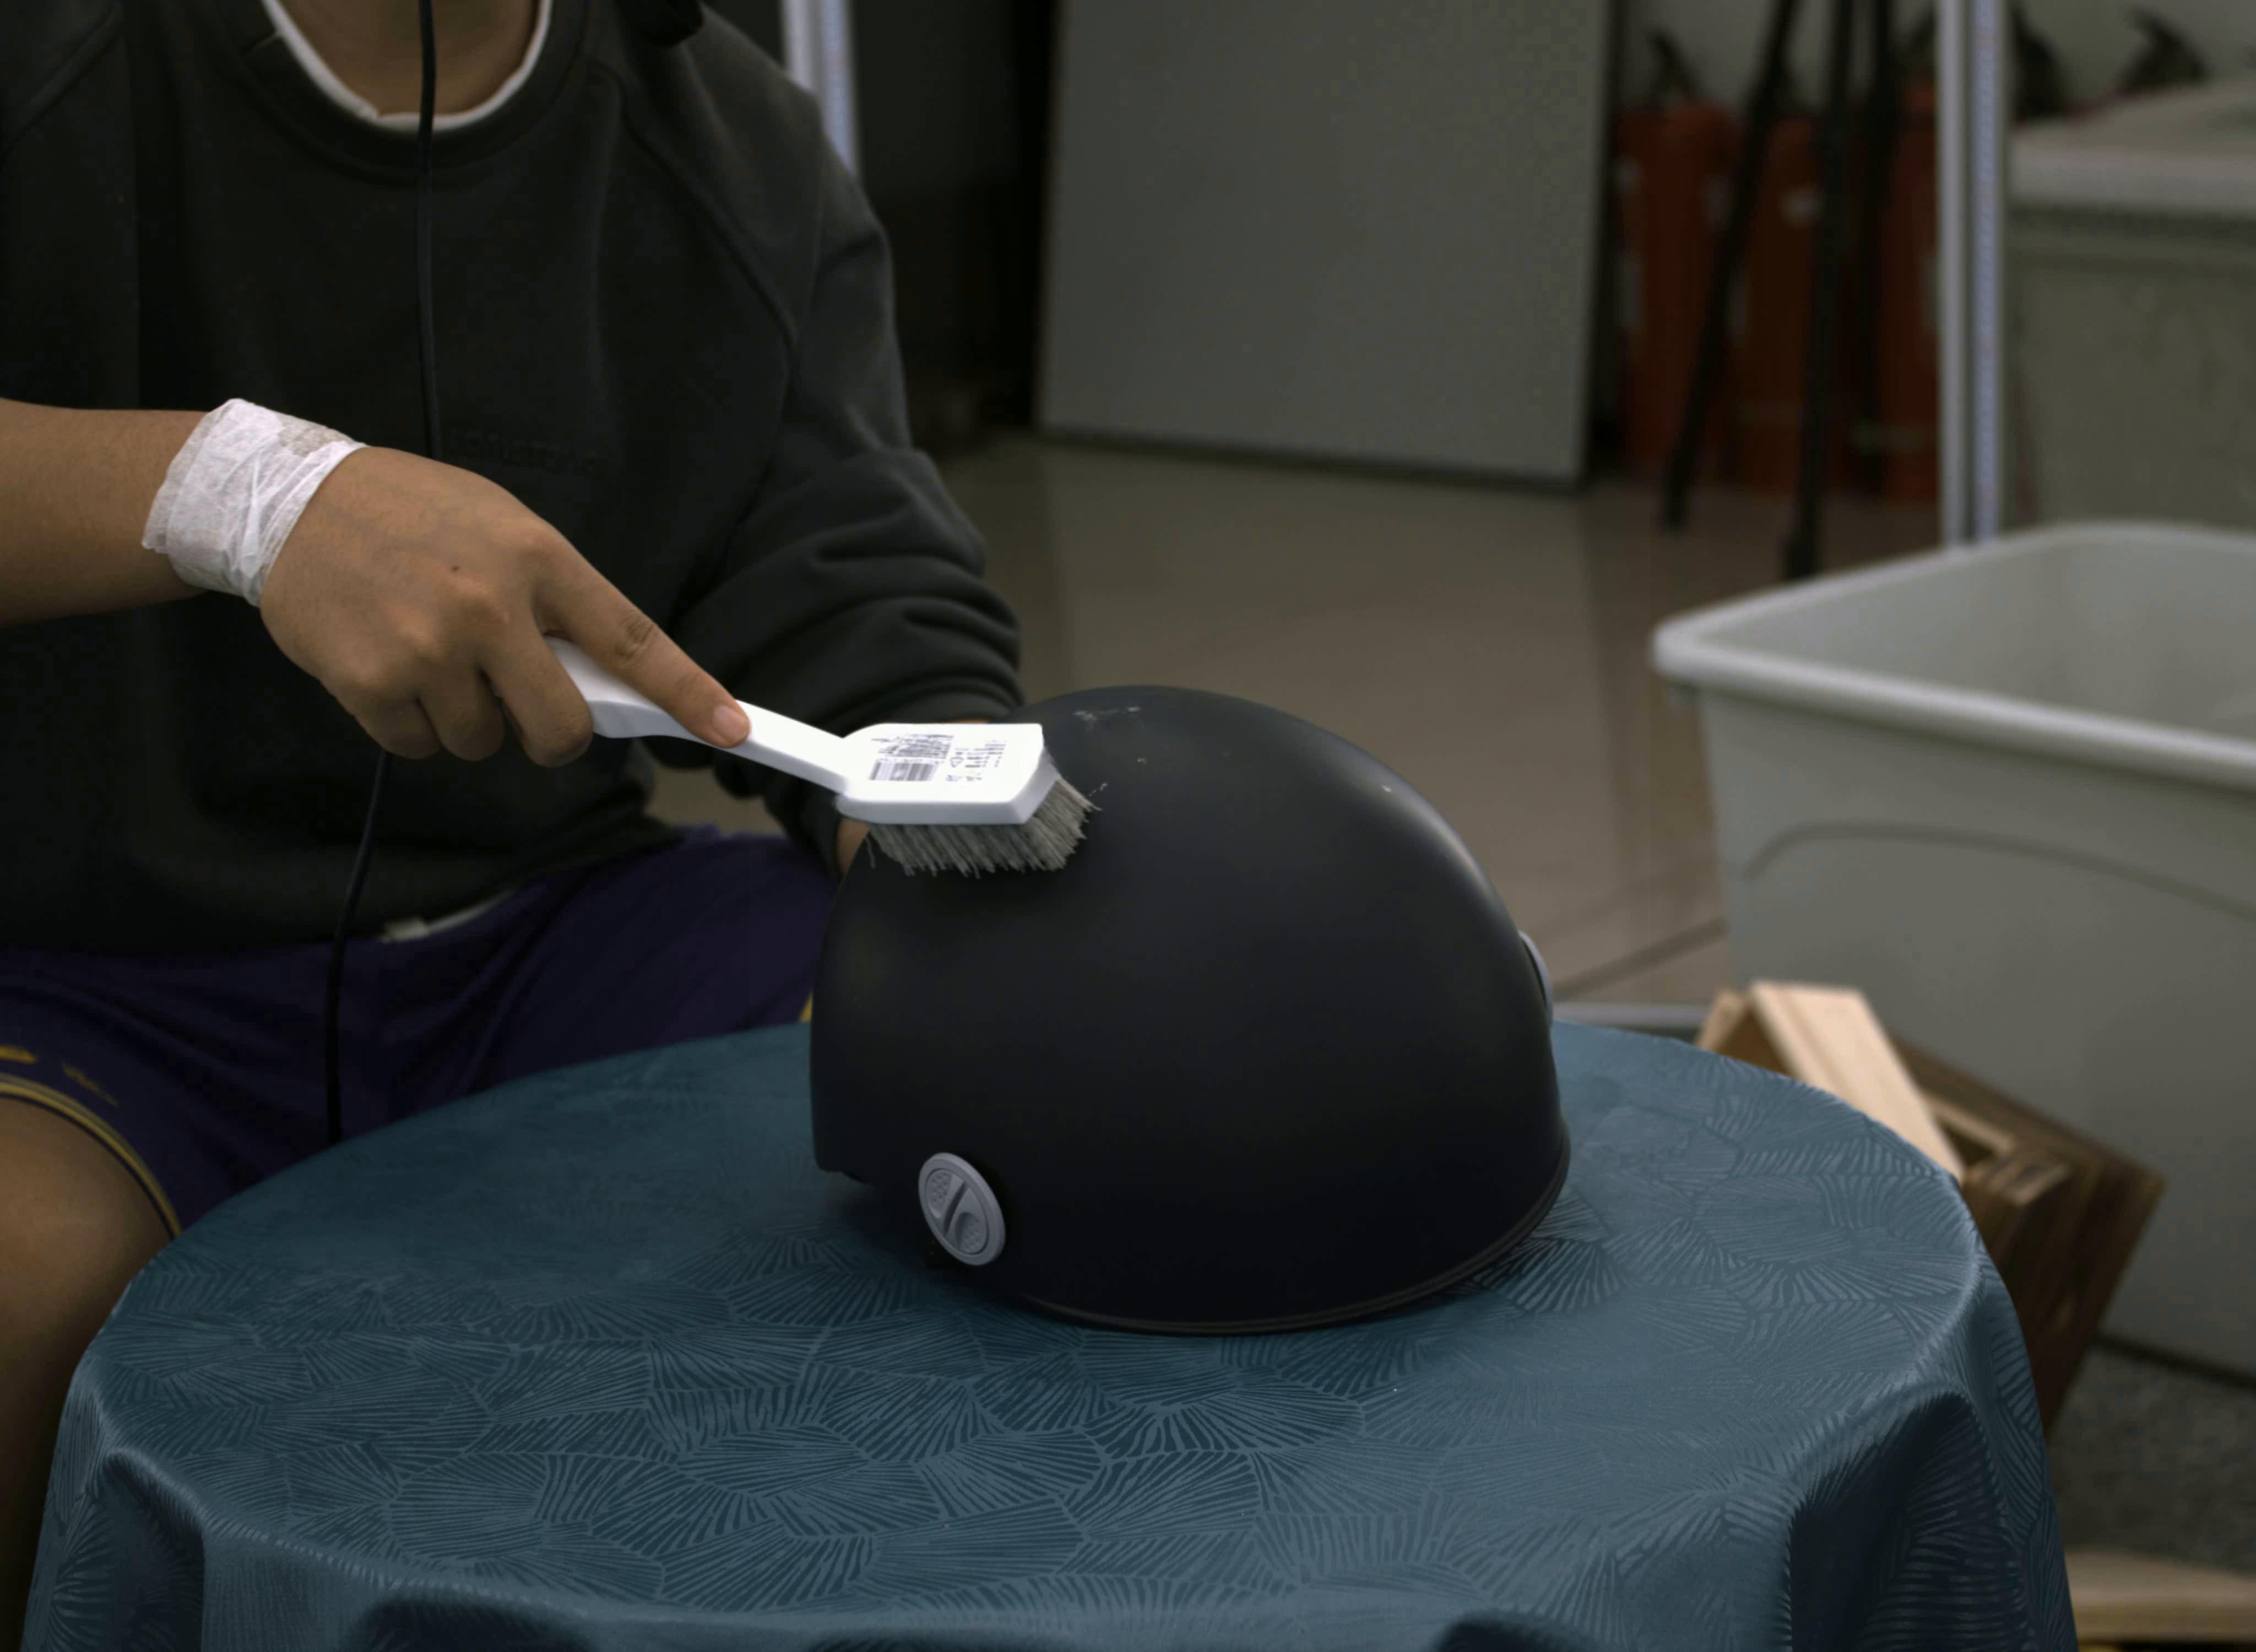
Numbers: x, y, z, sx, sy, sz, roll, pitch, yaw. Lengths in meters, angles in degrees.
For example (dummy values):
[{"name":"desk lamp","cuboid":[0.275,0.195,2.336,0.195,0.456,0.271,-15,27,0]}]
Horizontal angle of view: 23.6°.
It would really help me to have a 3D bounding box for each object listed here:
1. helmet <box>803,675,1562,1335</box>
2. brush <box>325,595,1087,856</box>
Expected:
[{"name":"helmet","cuboid":[0.011,0.043,1.718,0.225,0.168,0.276,-20,23,-24]},{"name":"brush","cuboid":[-0.131,-0.030,1.666,0.242,0.050,0.034,11,50,12]}]
